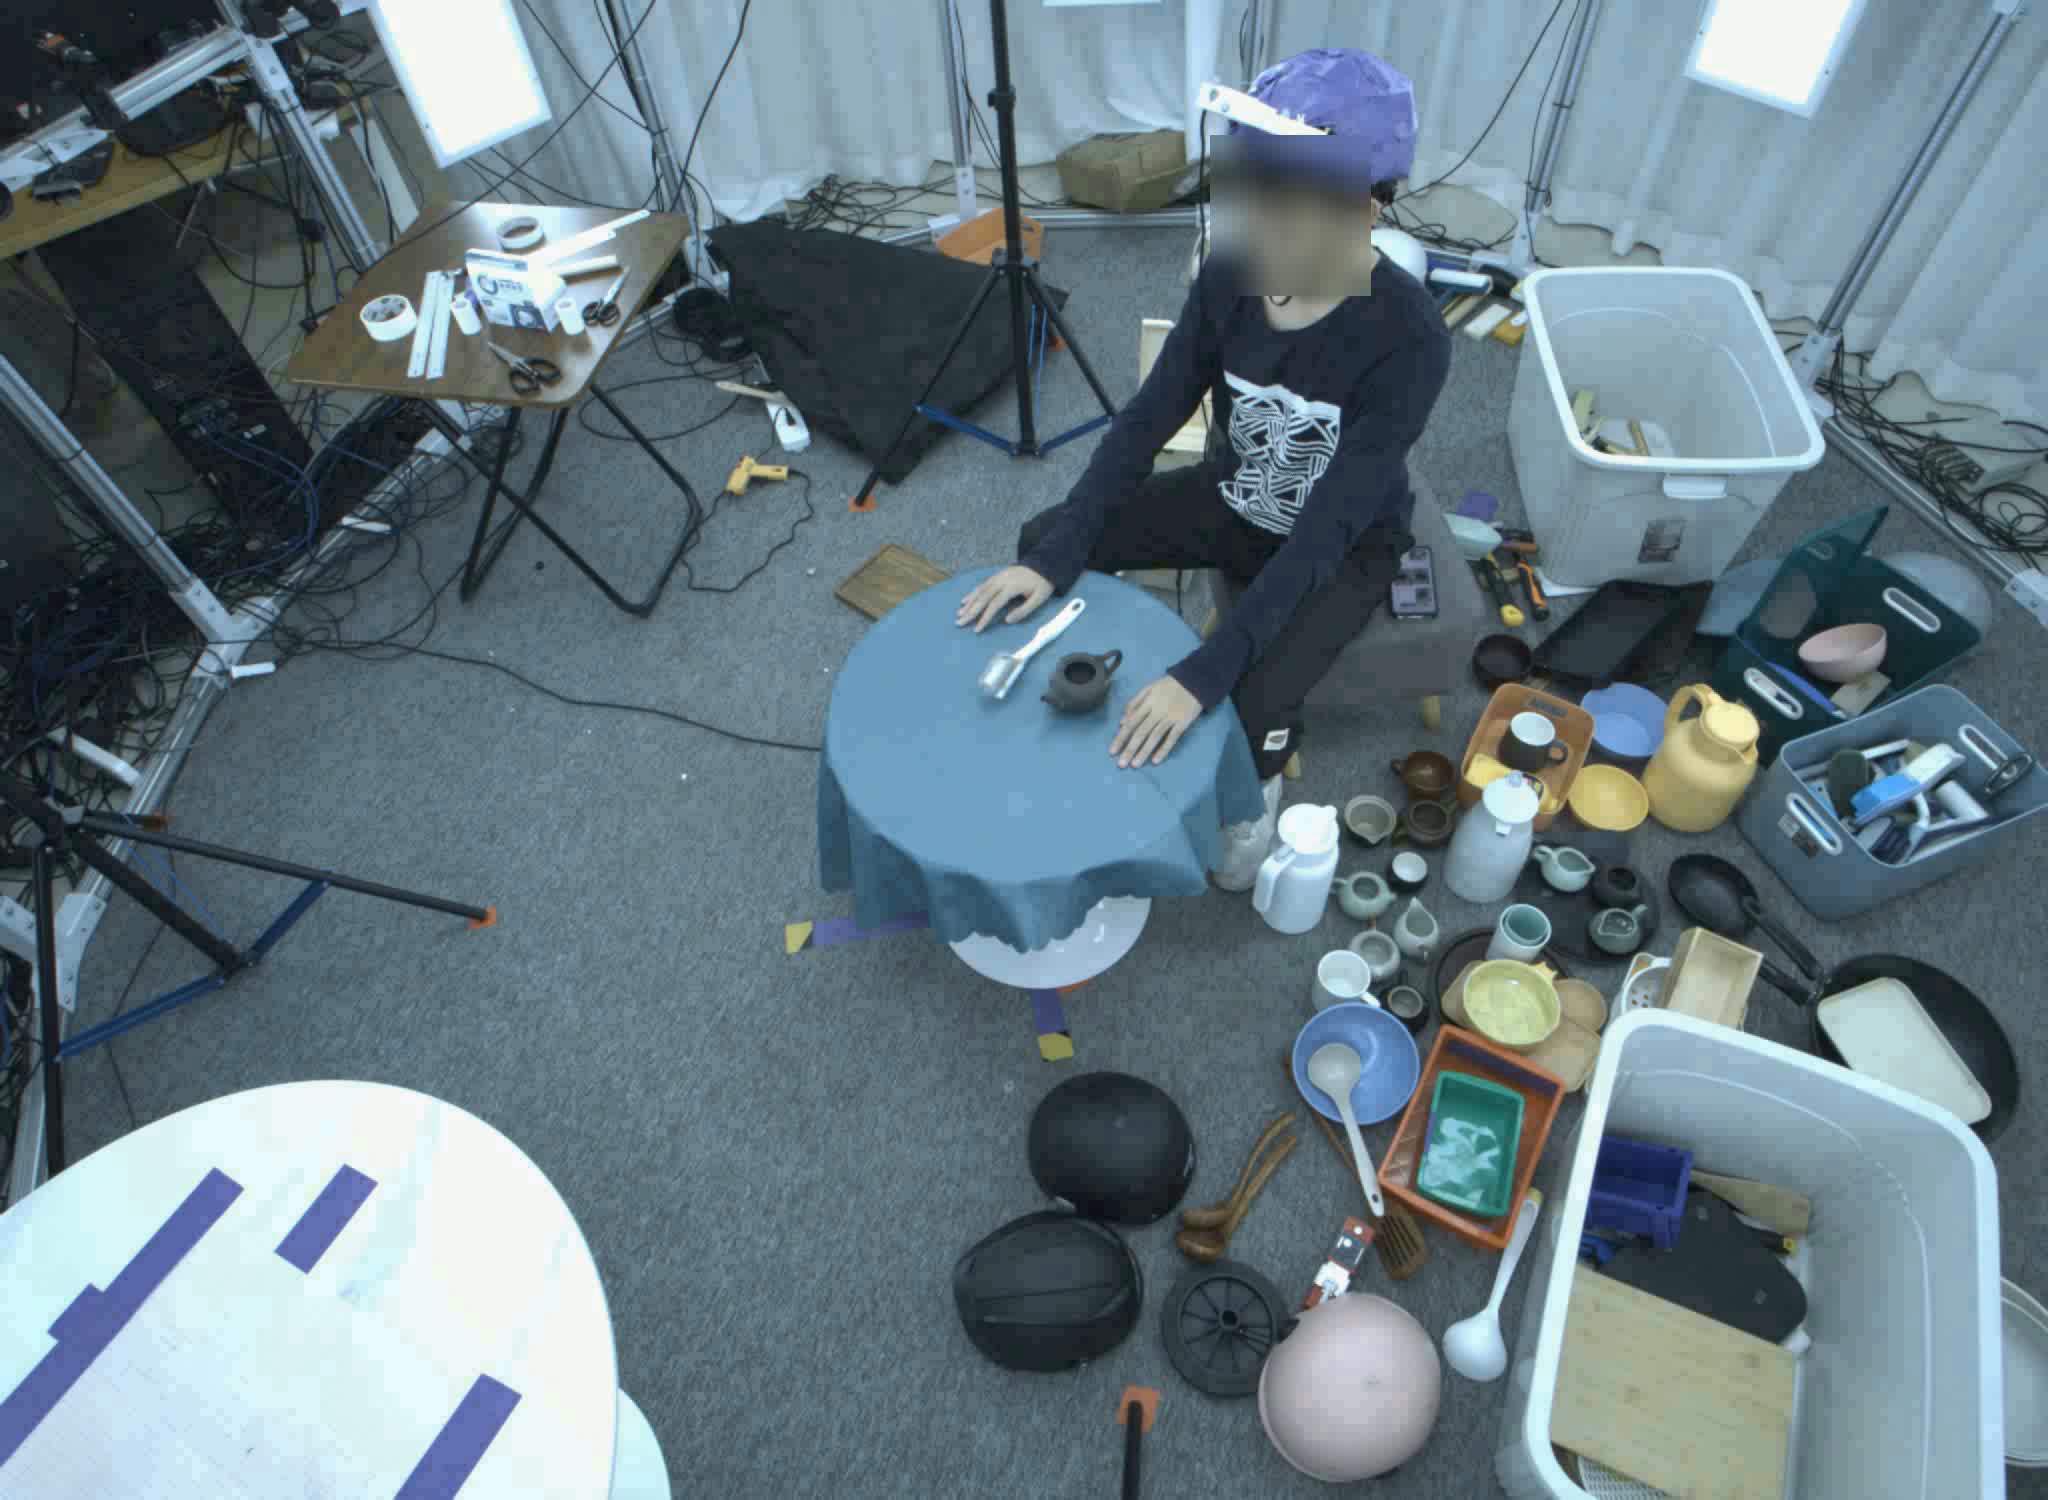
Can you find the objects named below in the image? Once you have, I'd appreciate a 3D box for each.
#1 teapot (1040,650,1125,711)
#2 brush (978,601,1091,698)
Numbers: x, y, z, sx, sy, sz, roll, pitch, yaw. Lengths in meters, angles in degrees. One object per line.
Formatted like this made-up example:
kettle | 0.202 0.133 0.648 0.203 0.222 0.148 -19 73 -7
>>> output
teapot | 0.086 -0.101 1.812 0.155 0.065 0.090 -32 58 -20
brush | 0.019 -0.166 1.869 0.034 0.051 0.245 31 61 28
